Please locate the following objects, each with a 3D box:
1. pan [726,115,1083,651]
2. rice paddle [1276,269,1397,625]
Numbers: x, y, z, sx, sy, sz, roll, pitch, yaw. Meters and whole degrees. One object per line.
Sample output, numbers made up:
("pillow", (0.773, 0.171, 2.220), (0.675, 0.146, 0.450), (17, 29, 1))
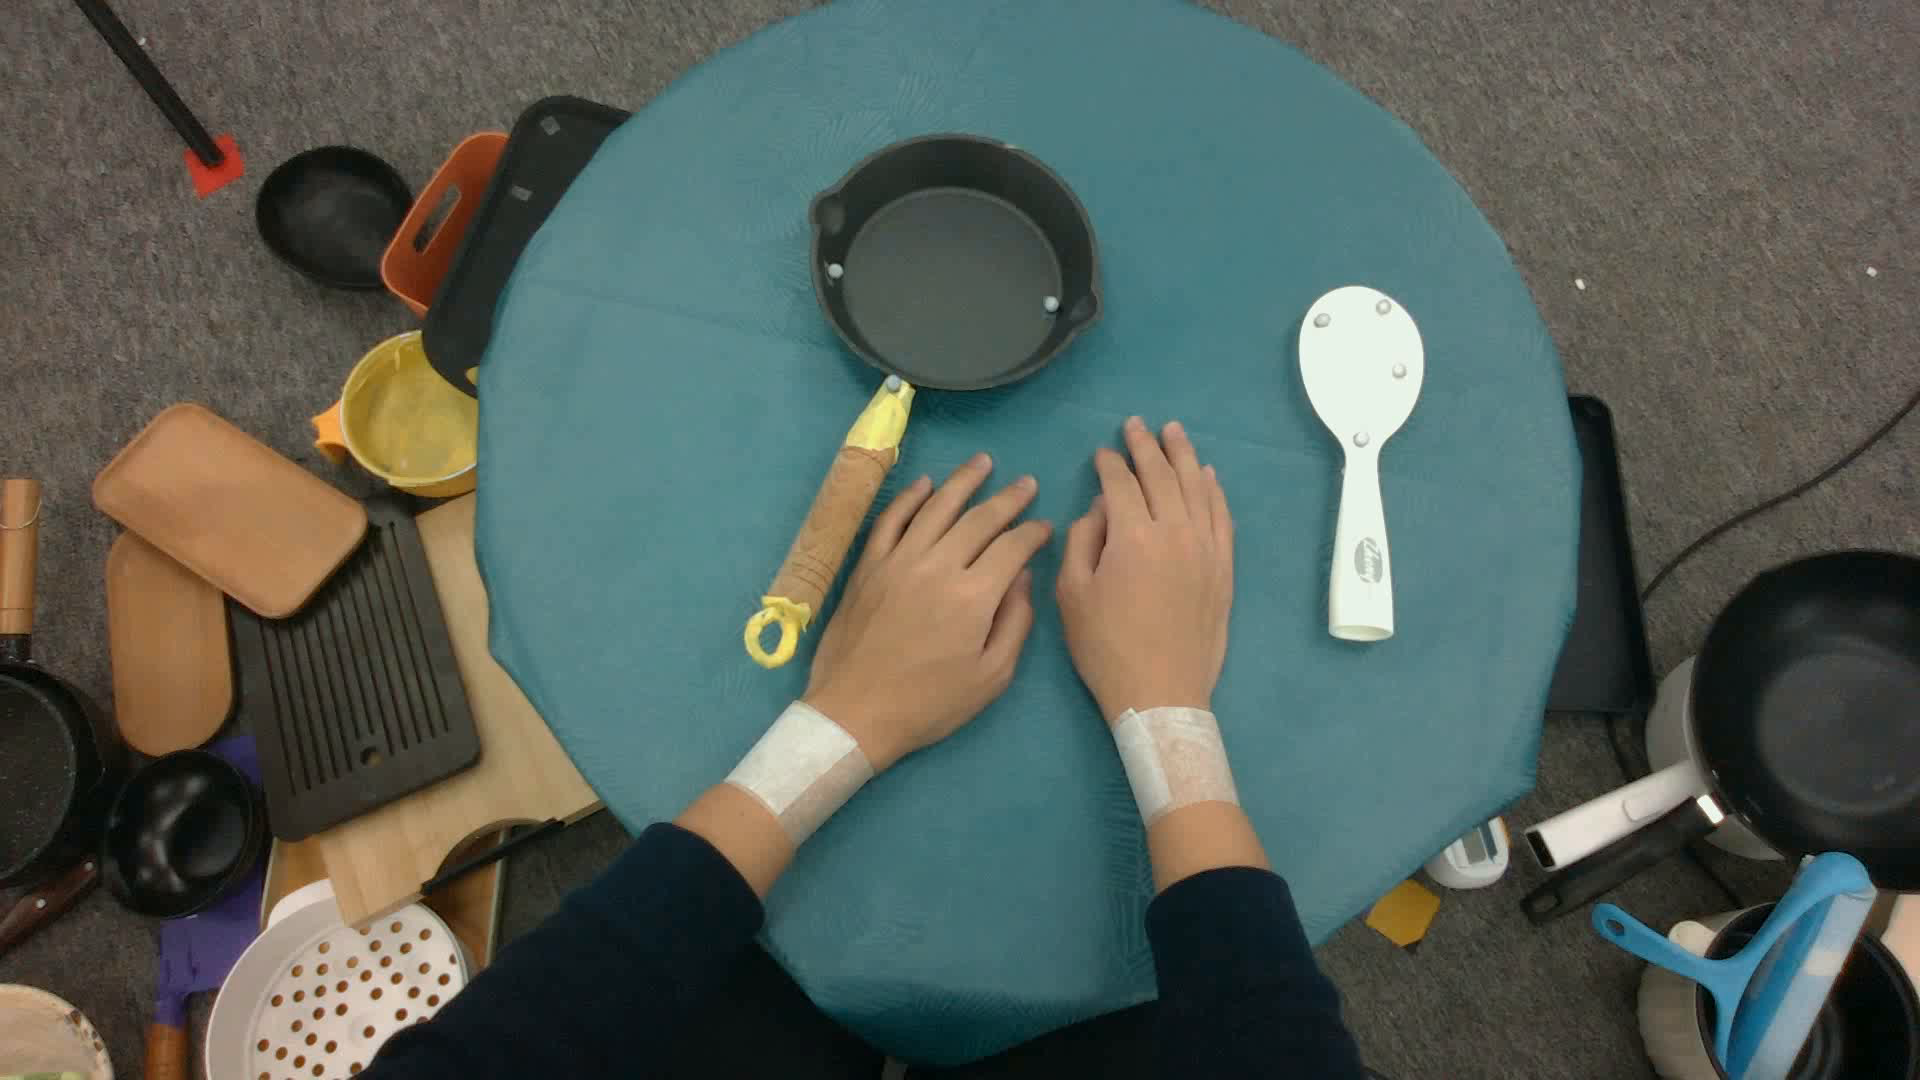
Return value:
("pan", (-0.046, -0.086, 0.721), (0.169, 0.049, 0.325), (23, 70, 3))
("rice paddle", (0.204, -0.057, 0.743), (0.069, 0.029, 0.206), (6, 72, -5))
